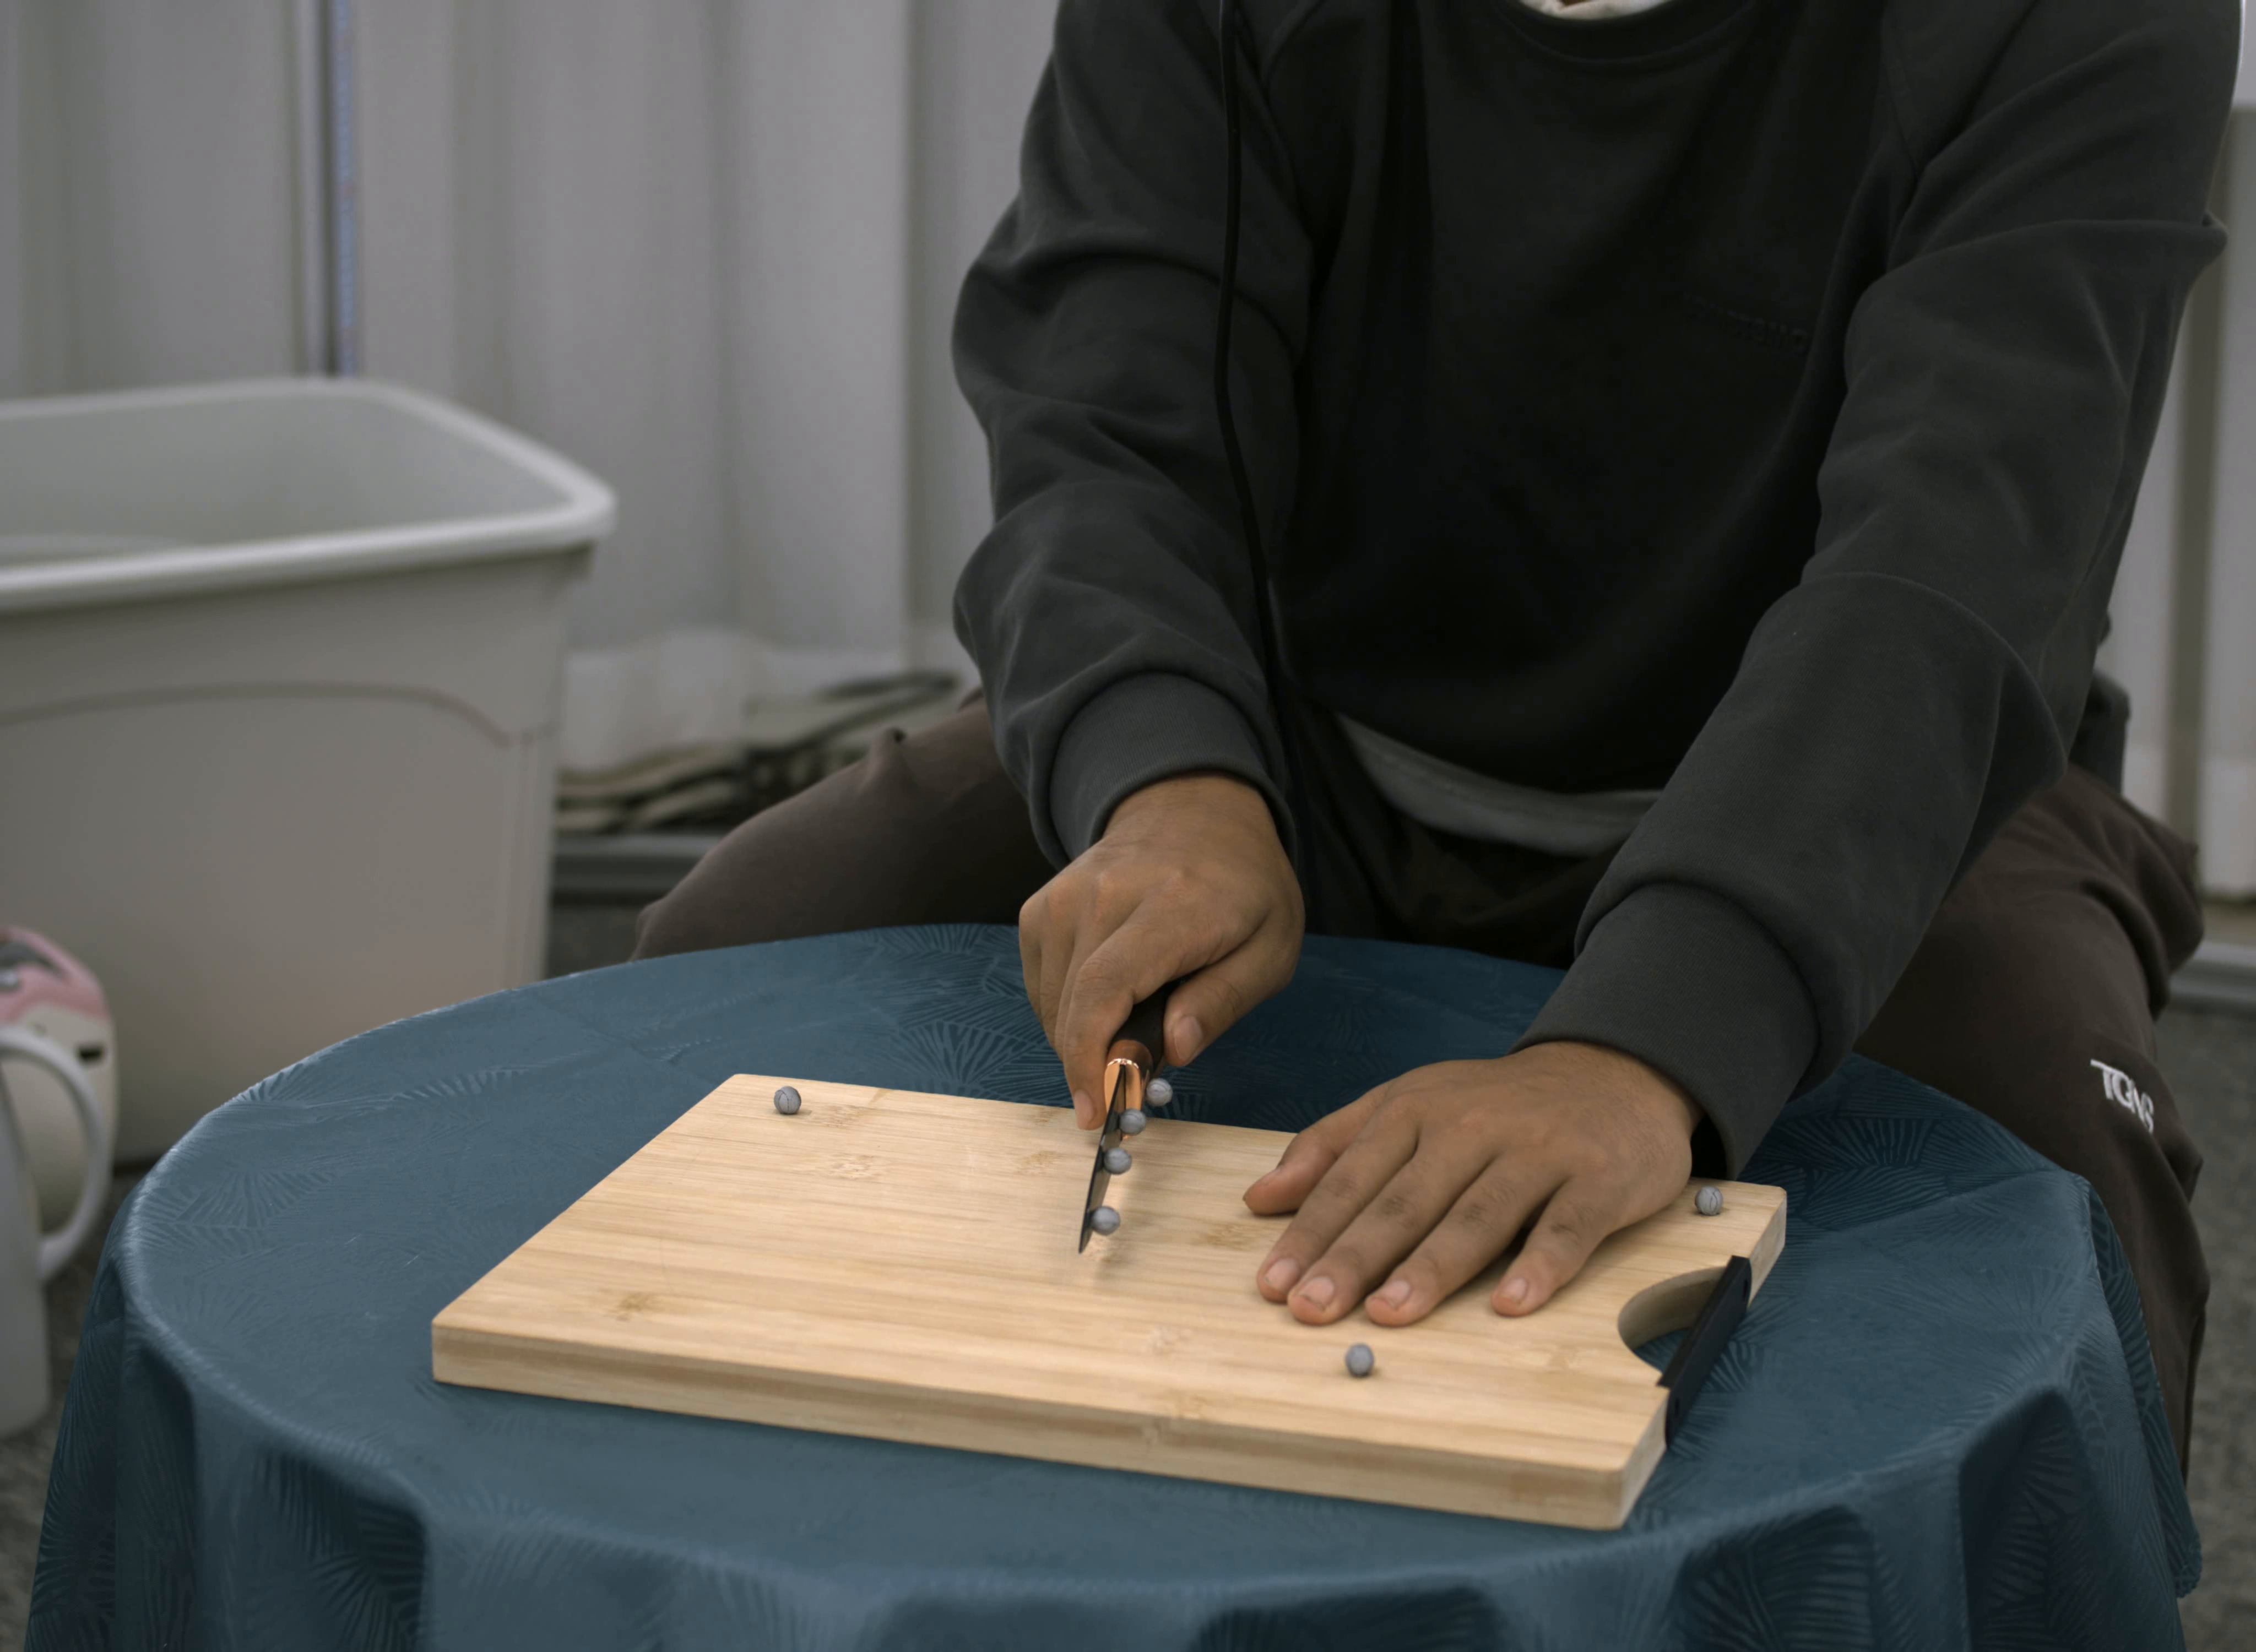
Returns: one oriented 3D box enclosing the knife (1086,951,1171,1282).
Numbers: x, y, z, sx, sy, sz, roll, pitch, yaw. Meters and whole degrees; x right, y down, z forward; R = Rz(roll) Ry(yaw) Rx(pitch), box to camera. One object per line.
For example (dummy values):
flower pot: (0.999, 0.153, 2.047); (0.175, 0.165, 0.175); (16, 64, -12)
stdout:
knife: (-0.002, 0.086, 1.590); (0.017, 0.026, 0.224); (0, 20, 5)

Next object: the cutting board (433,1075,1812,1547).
cutting board: (0.007, 0.133, 1.522); (0.346, 0.024, 0.250); (5, 16, 15)
